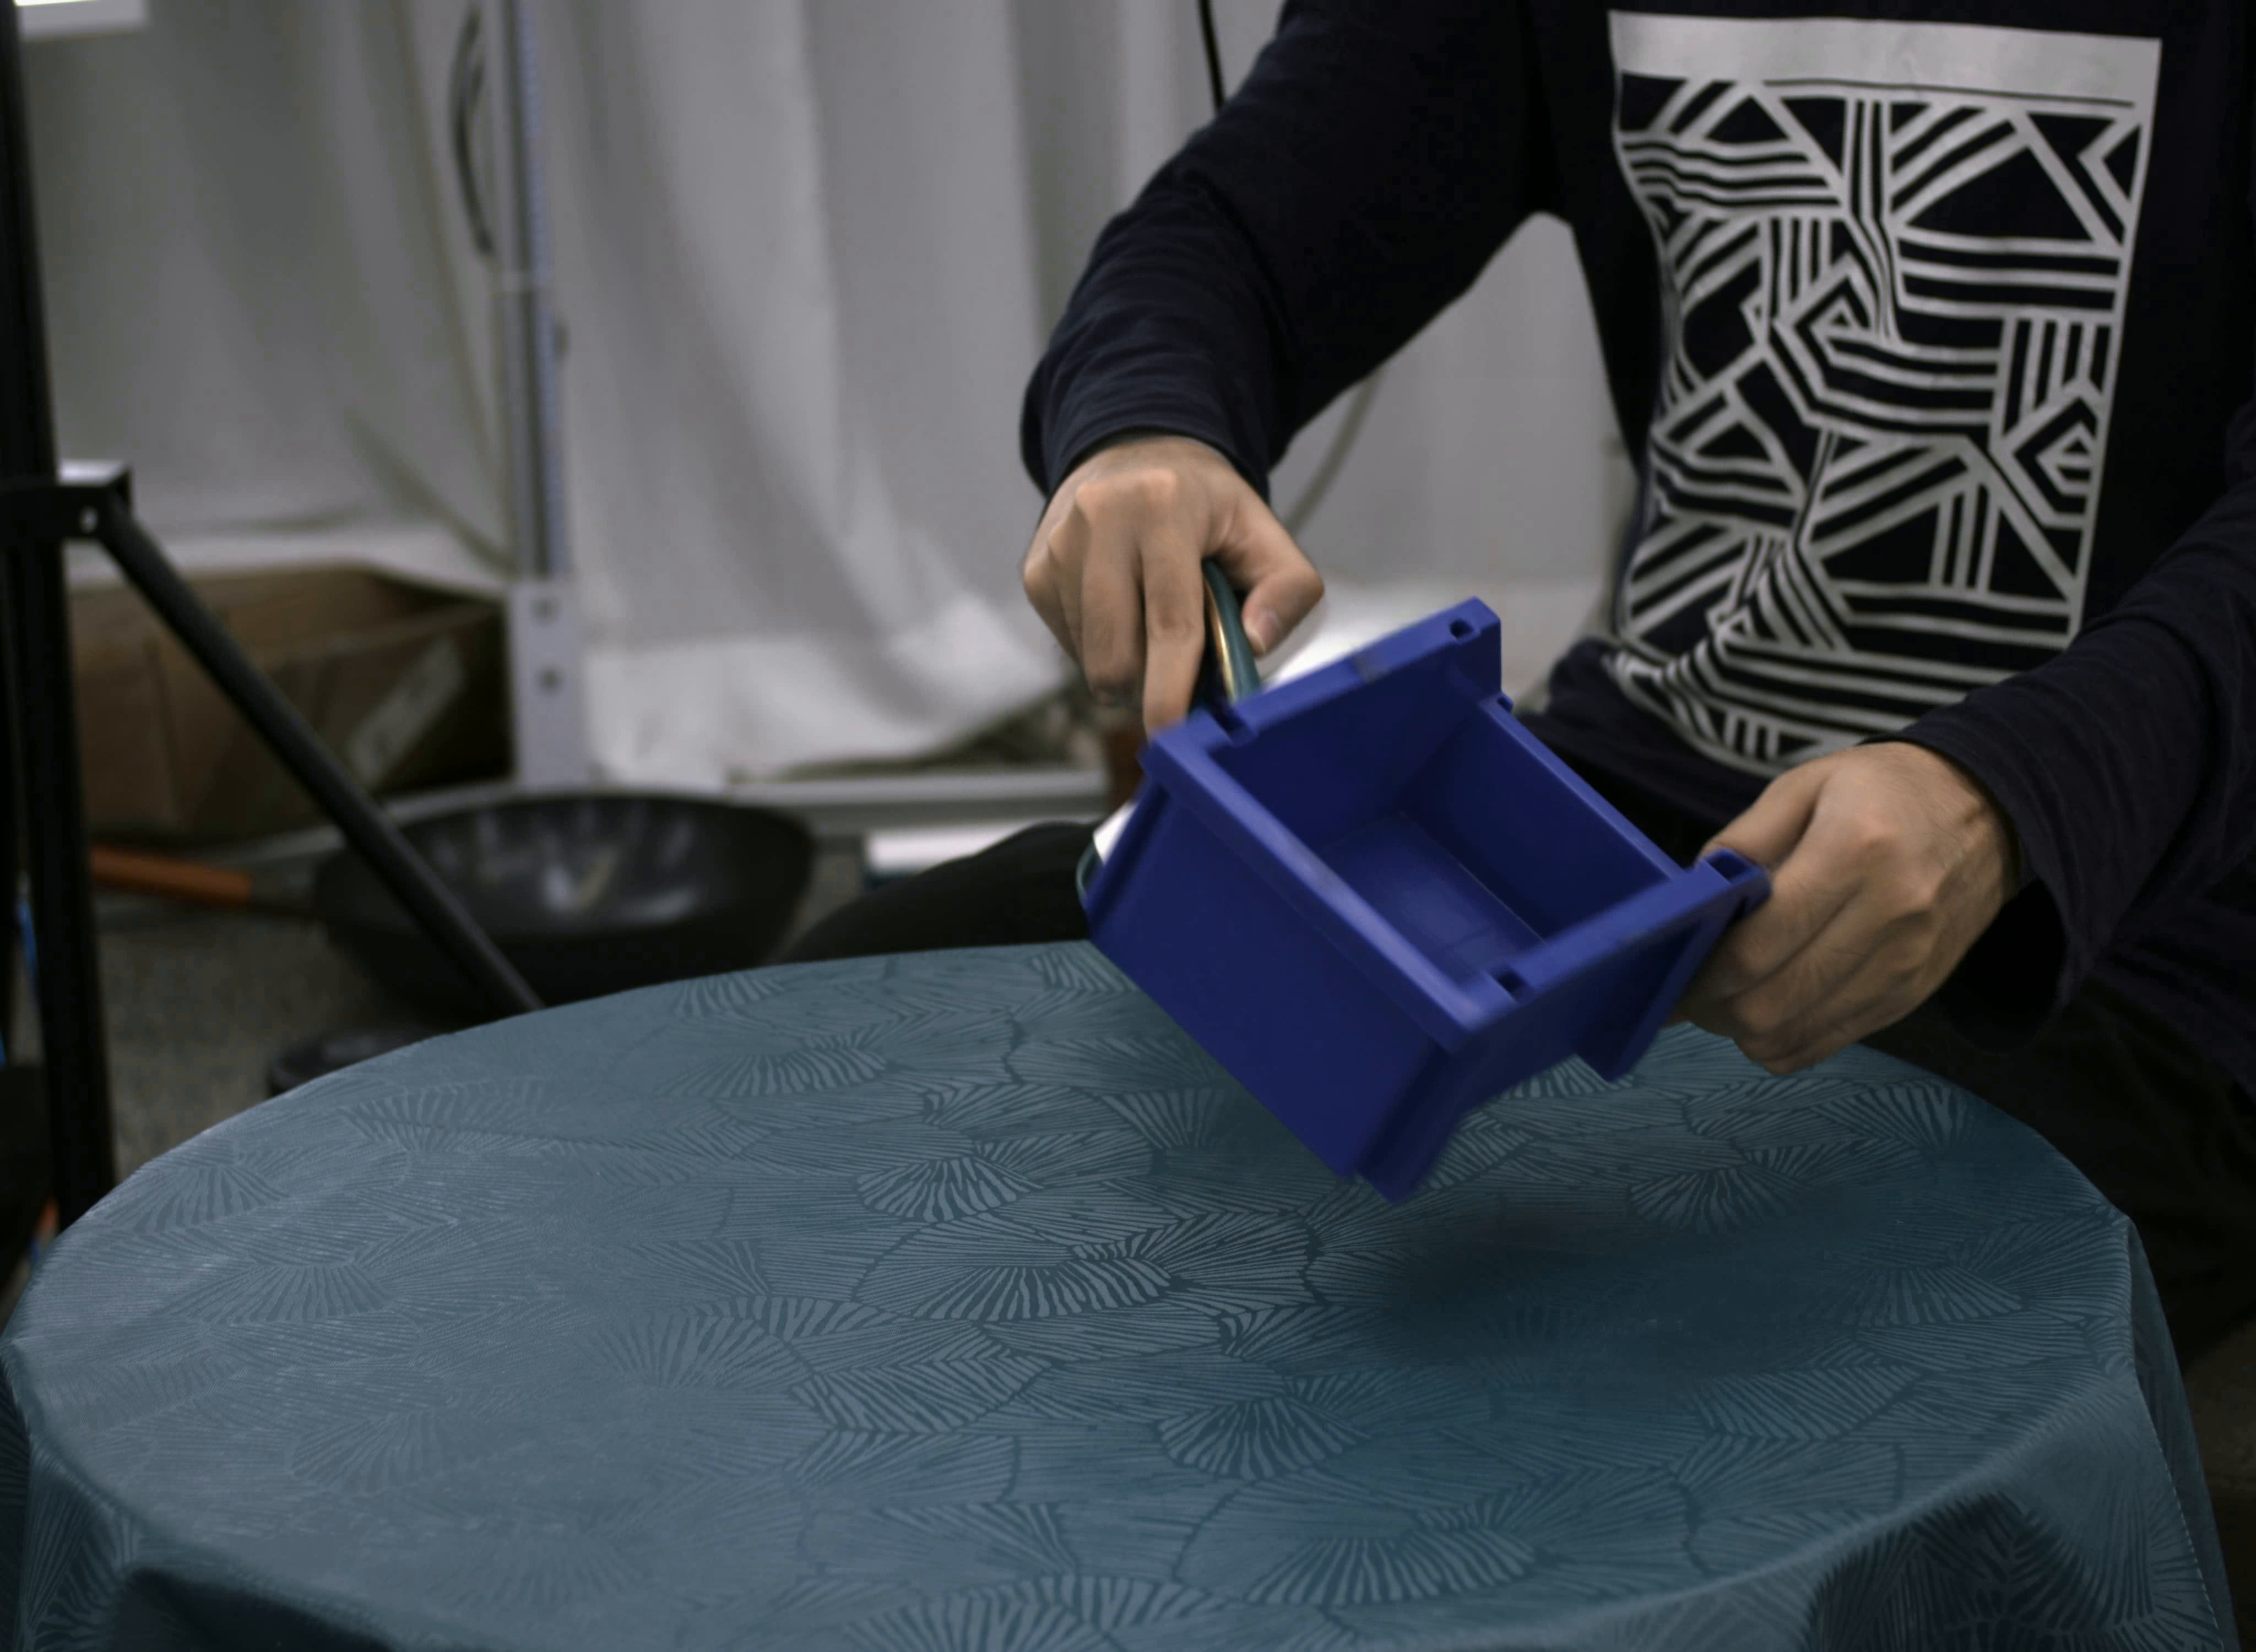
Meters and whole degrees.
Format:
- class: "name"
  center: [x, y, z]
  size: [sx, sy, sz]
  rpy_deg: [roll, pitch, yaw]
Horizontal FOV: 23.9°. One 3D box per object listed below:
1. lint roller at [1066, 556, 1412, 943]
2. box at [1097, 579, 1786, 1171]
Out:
- class: "lint roller"
  center: [0.021, -0.050, 1.646]
  size: [0.135, 0.047, 0.183]
  rpy_deg: [-42, 33, 10]
- class: "box"
  center: [0.091, 0.009, 1.485]
  size: [0.175, 0.082, 0.127]
  rpy_deg: [-21, 56, -42]
